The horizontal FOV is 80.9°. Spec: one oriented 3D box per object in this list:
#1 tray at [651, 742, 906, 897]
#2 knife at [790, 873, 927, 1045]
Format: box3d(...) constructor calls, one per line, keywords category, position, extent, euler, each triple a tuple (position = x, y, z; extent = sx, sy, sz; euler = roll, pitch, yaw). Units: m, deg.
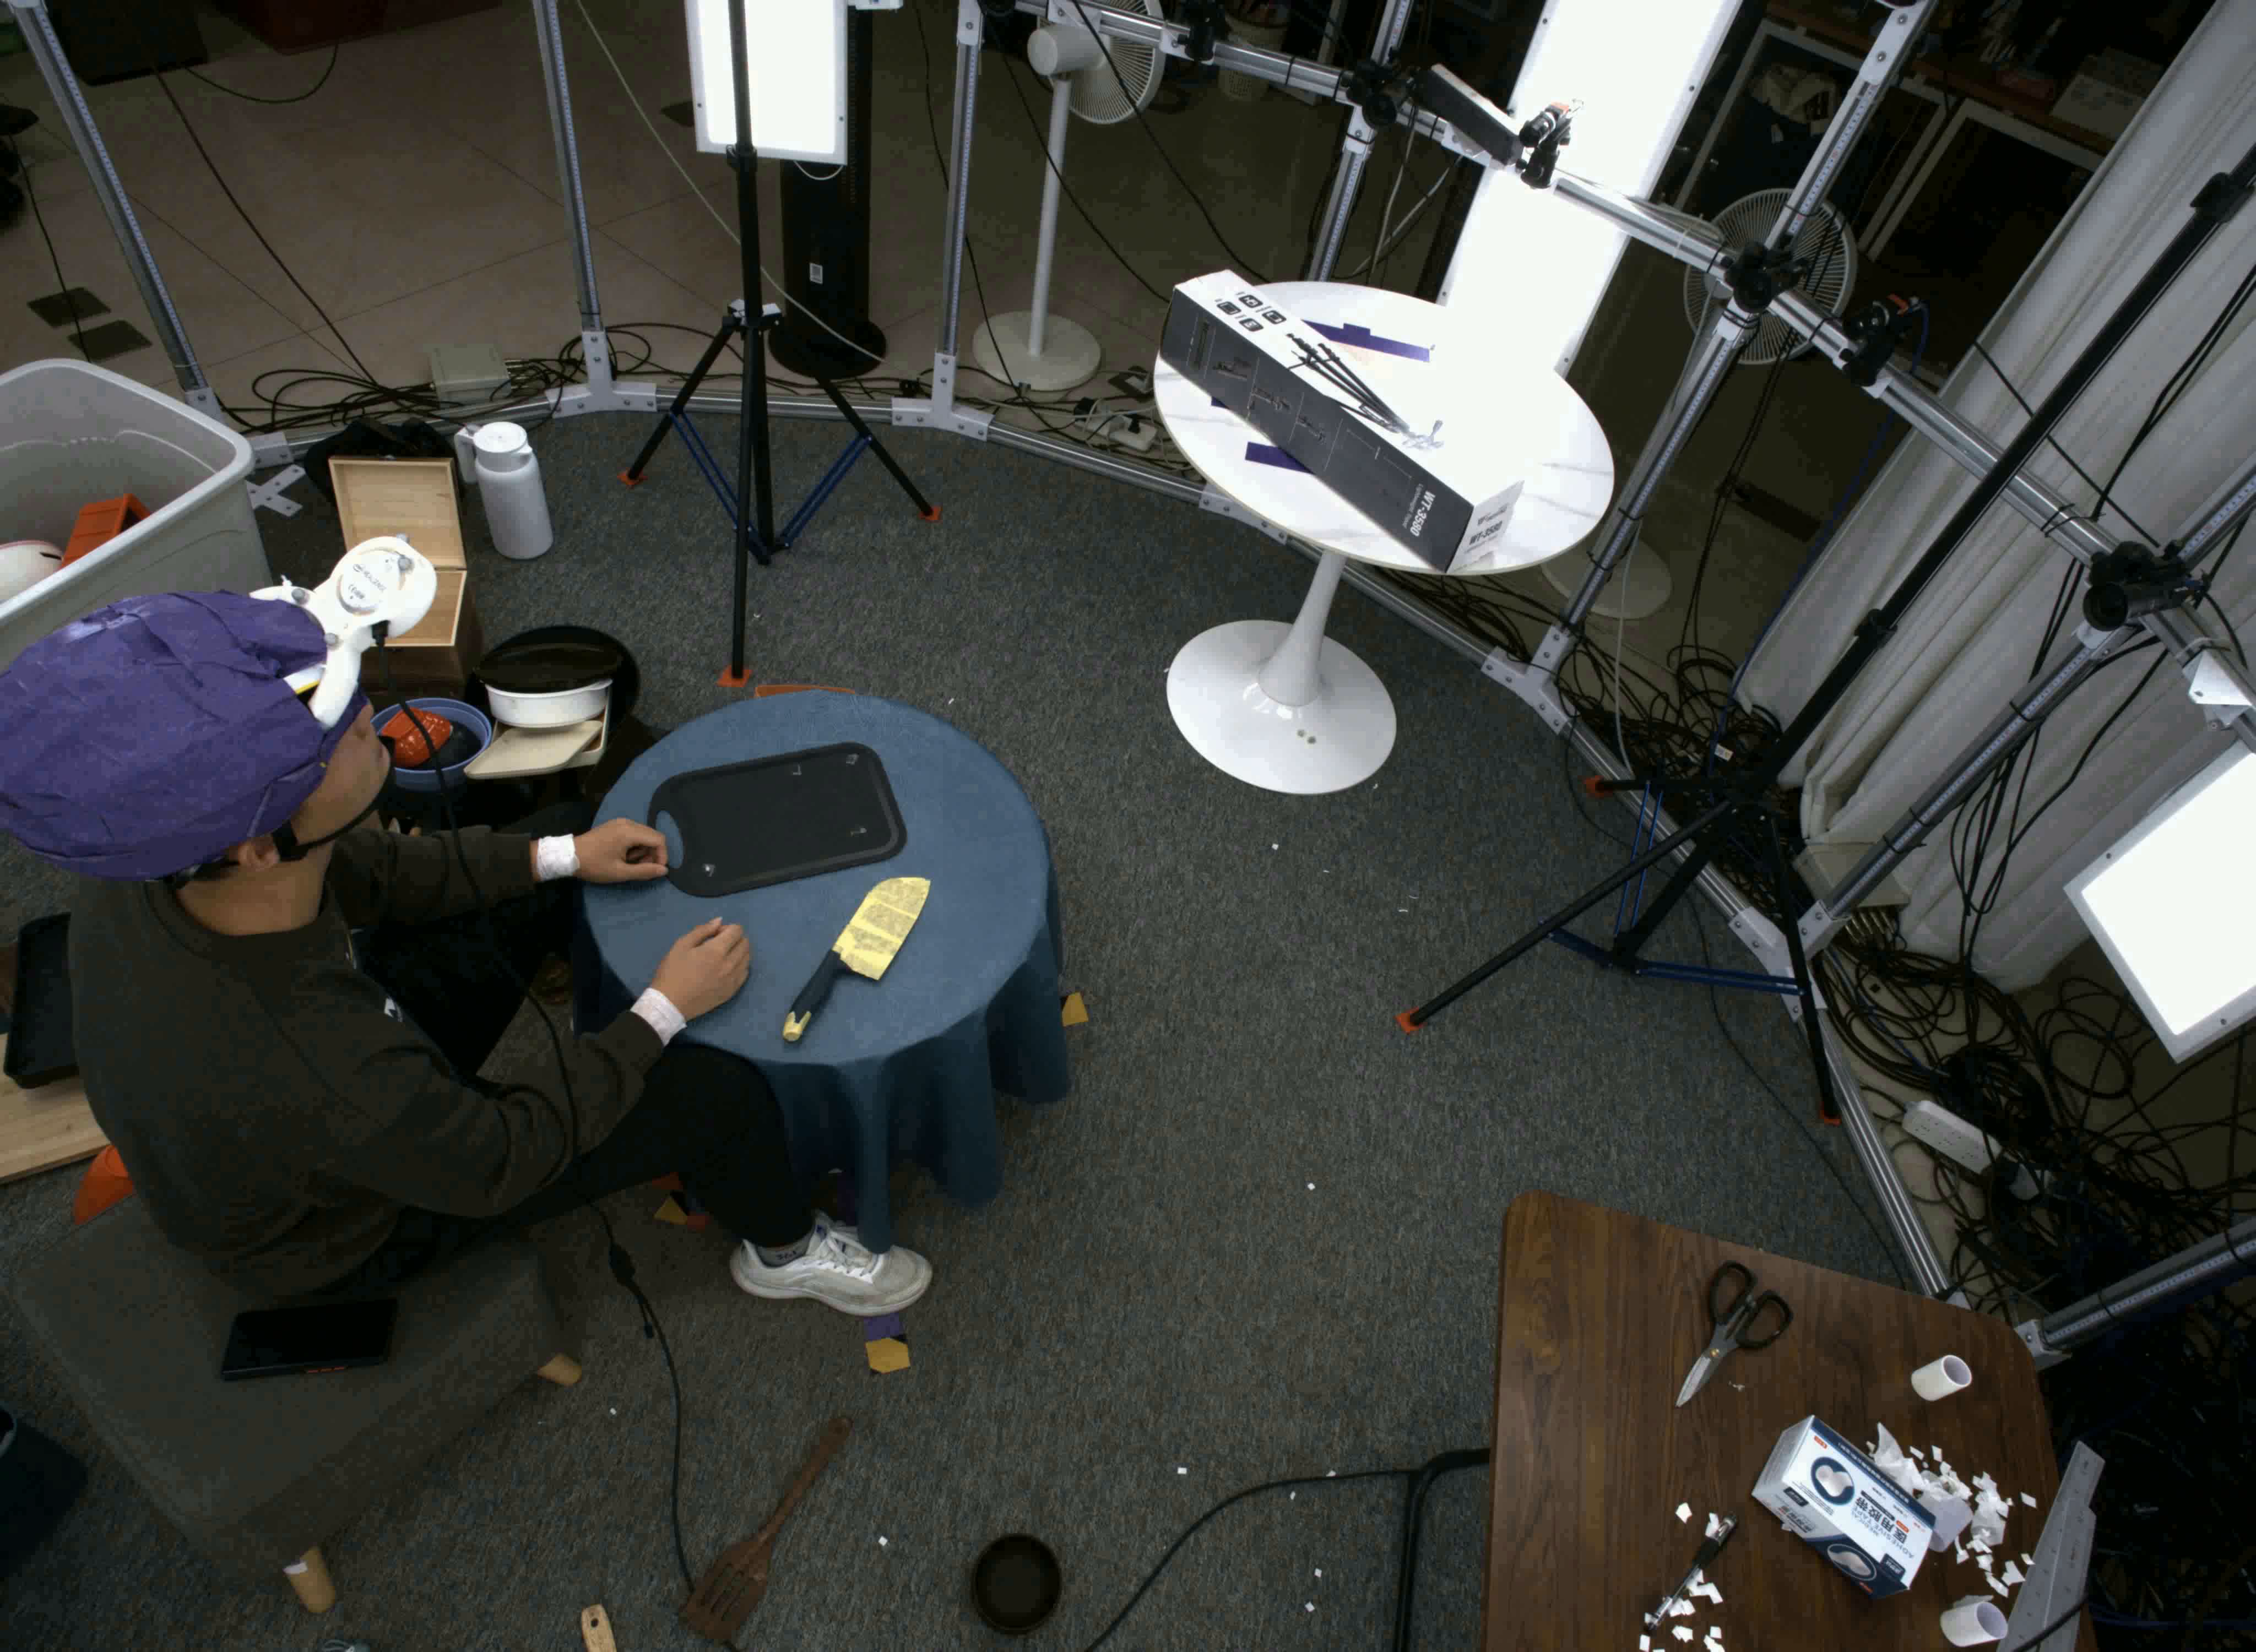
box3d(category="tray", position=(-0.470, -0.014, 1.728), extent=(0.327, 0.010, 0.206), euler=(-12, 58, -22))
box3d(category="knife", position=(-0.334, 0.160, 1.630), extent=(0.080, 0.028, 0.287), euler=(24, 51, 7))
